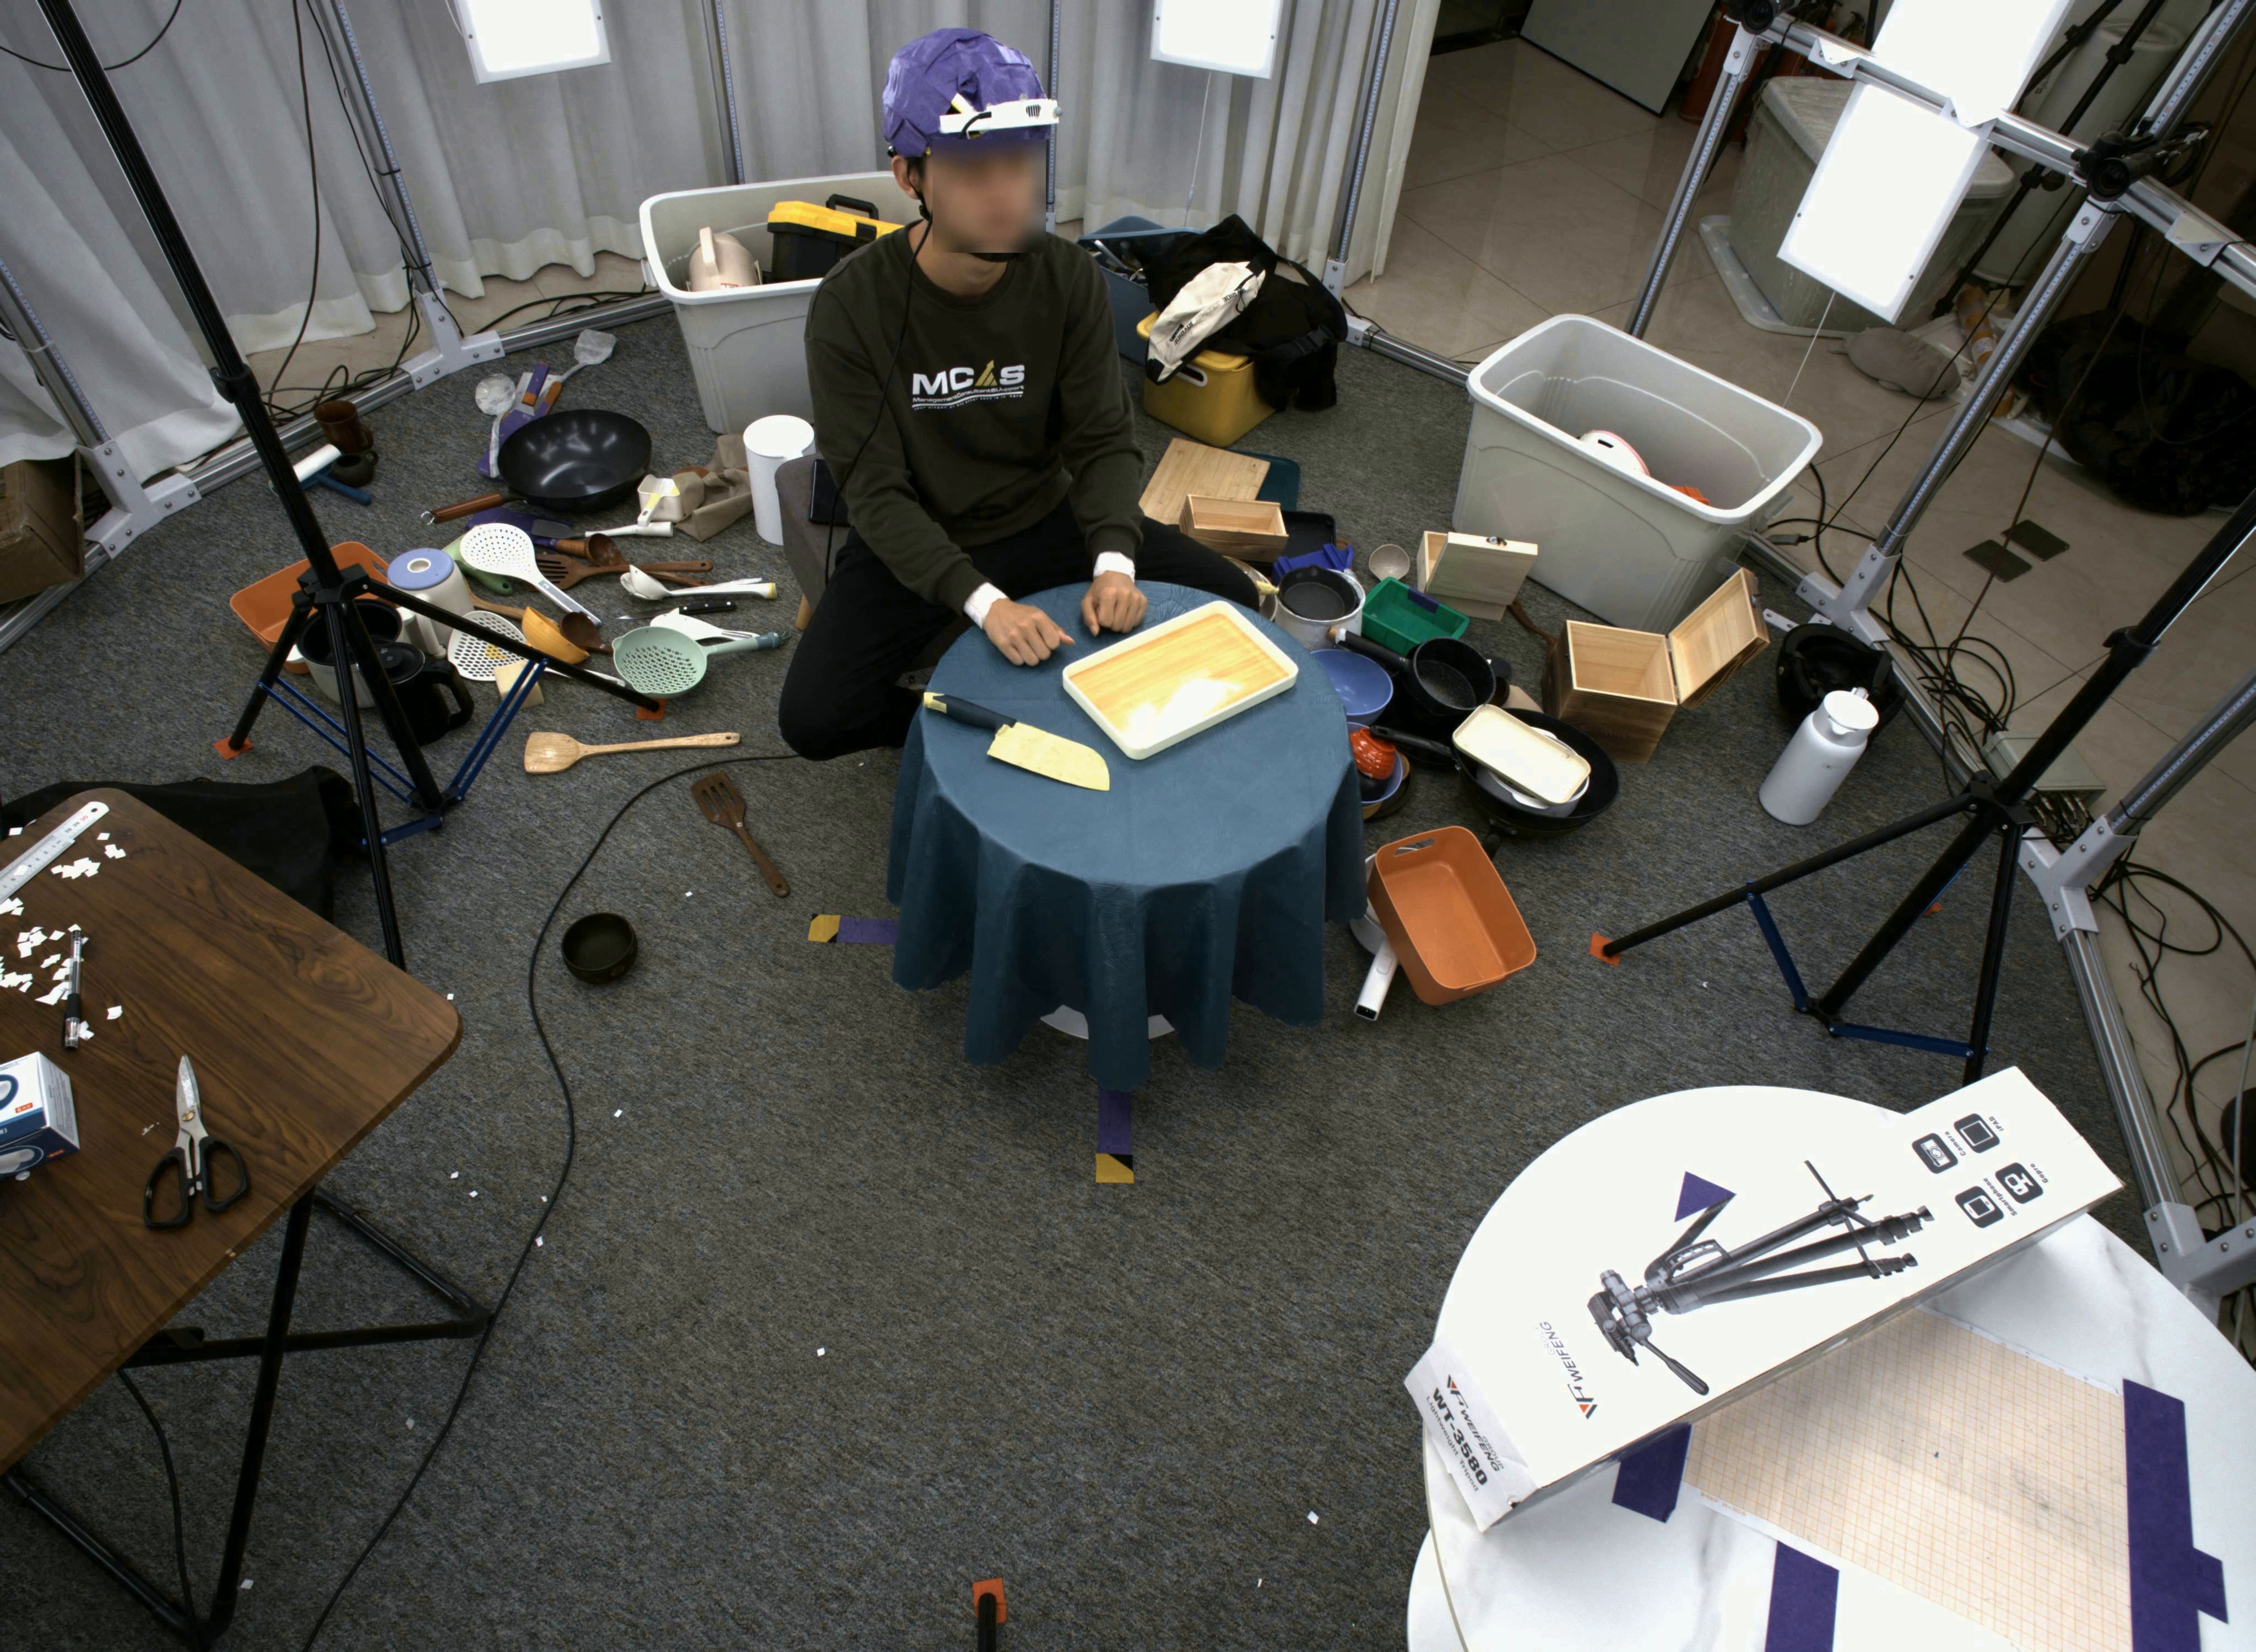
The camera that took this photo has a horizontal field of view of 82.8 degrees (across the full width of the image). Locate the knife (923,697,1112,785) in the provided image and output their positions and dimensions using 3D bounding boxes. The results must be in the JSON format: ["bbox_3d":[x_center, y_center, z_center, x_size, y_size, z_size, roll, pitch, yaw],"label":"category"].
[{"bbox_3d":[-0.155,-0.115,1.747,0.291,0.026,0.082,21,49,12],"label":"knife"}]

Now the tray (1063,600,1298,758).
[{"bbox_3d":[0.075,-0.216,1.843,0.302,0.027,0.195,-26,55,-24],"label":"tray"}]
